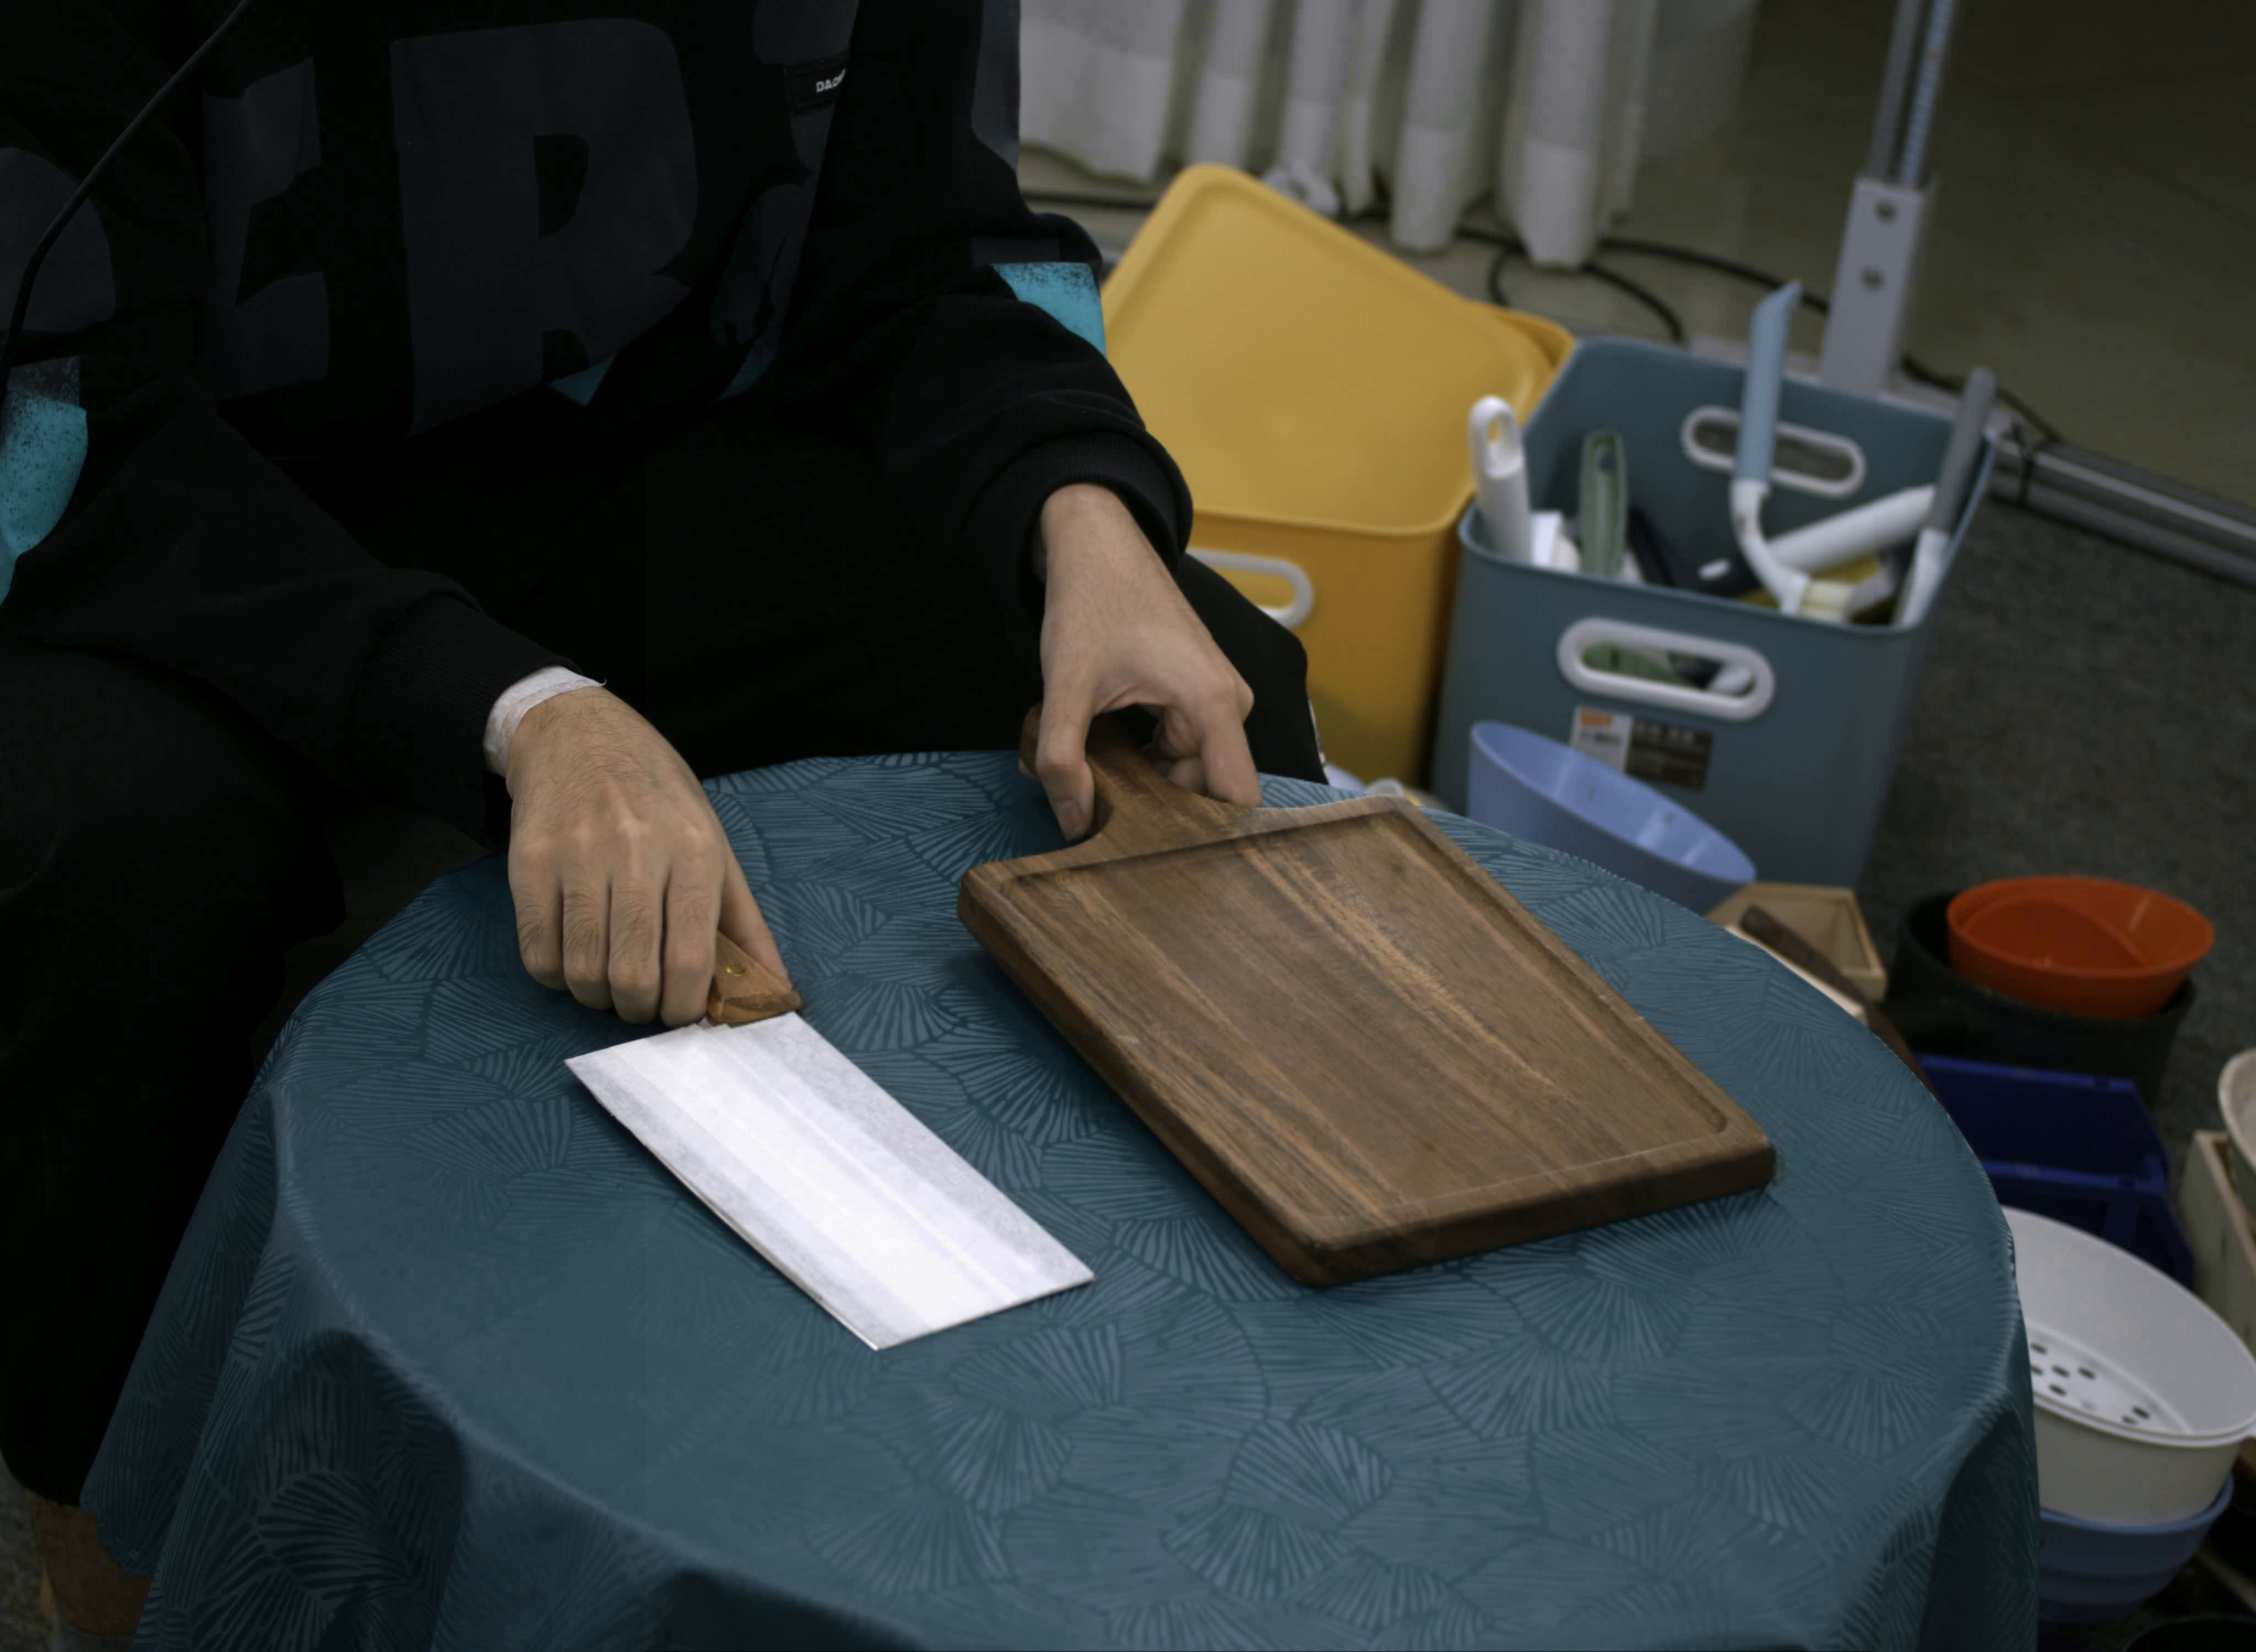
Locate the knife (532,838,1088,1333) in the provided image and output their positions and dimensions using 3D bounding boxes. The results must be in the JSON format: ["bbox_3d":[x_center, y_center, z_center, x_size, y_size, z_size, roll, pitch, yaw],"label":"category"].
[{"bbox_3d":[-0.134,0.088,1.825,0.092,0.021,0.308,-15,37,-34],"label":"knife"}]

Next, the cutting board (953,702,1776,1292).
[{"bbox_3d":[0.056,0.047,1.922,0.200,0.023,0.355,-10,35,-29],"label":"cutting board"}]
